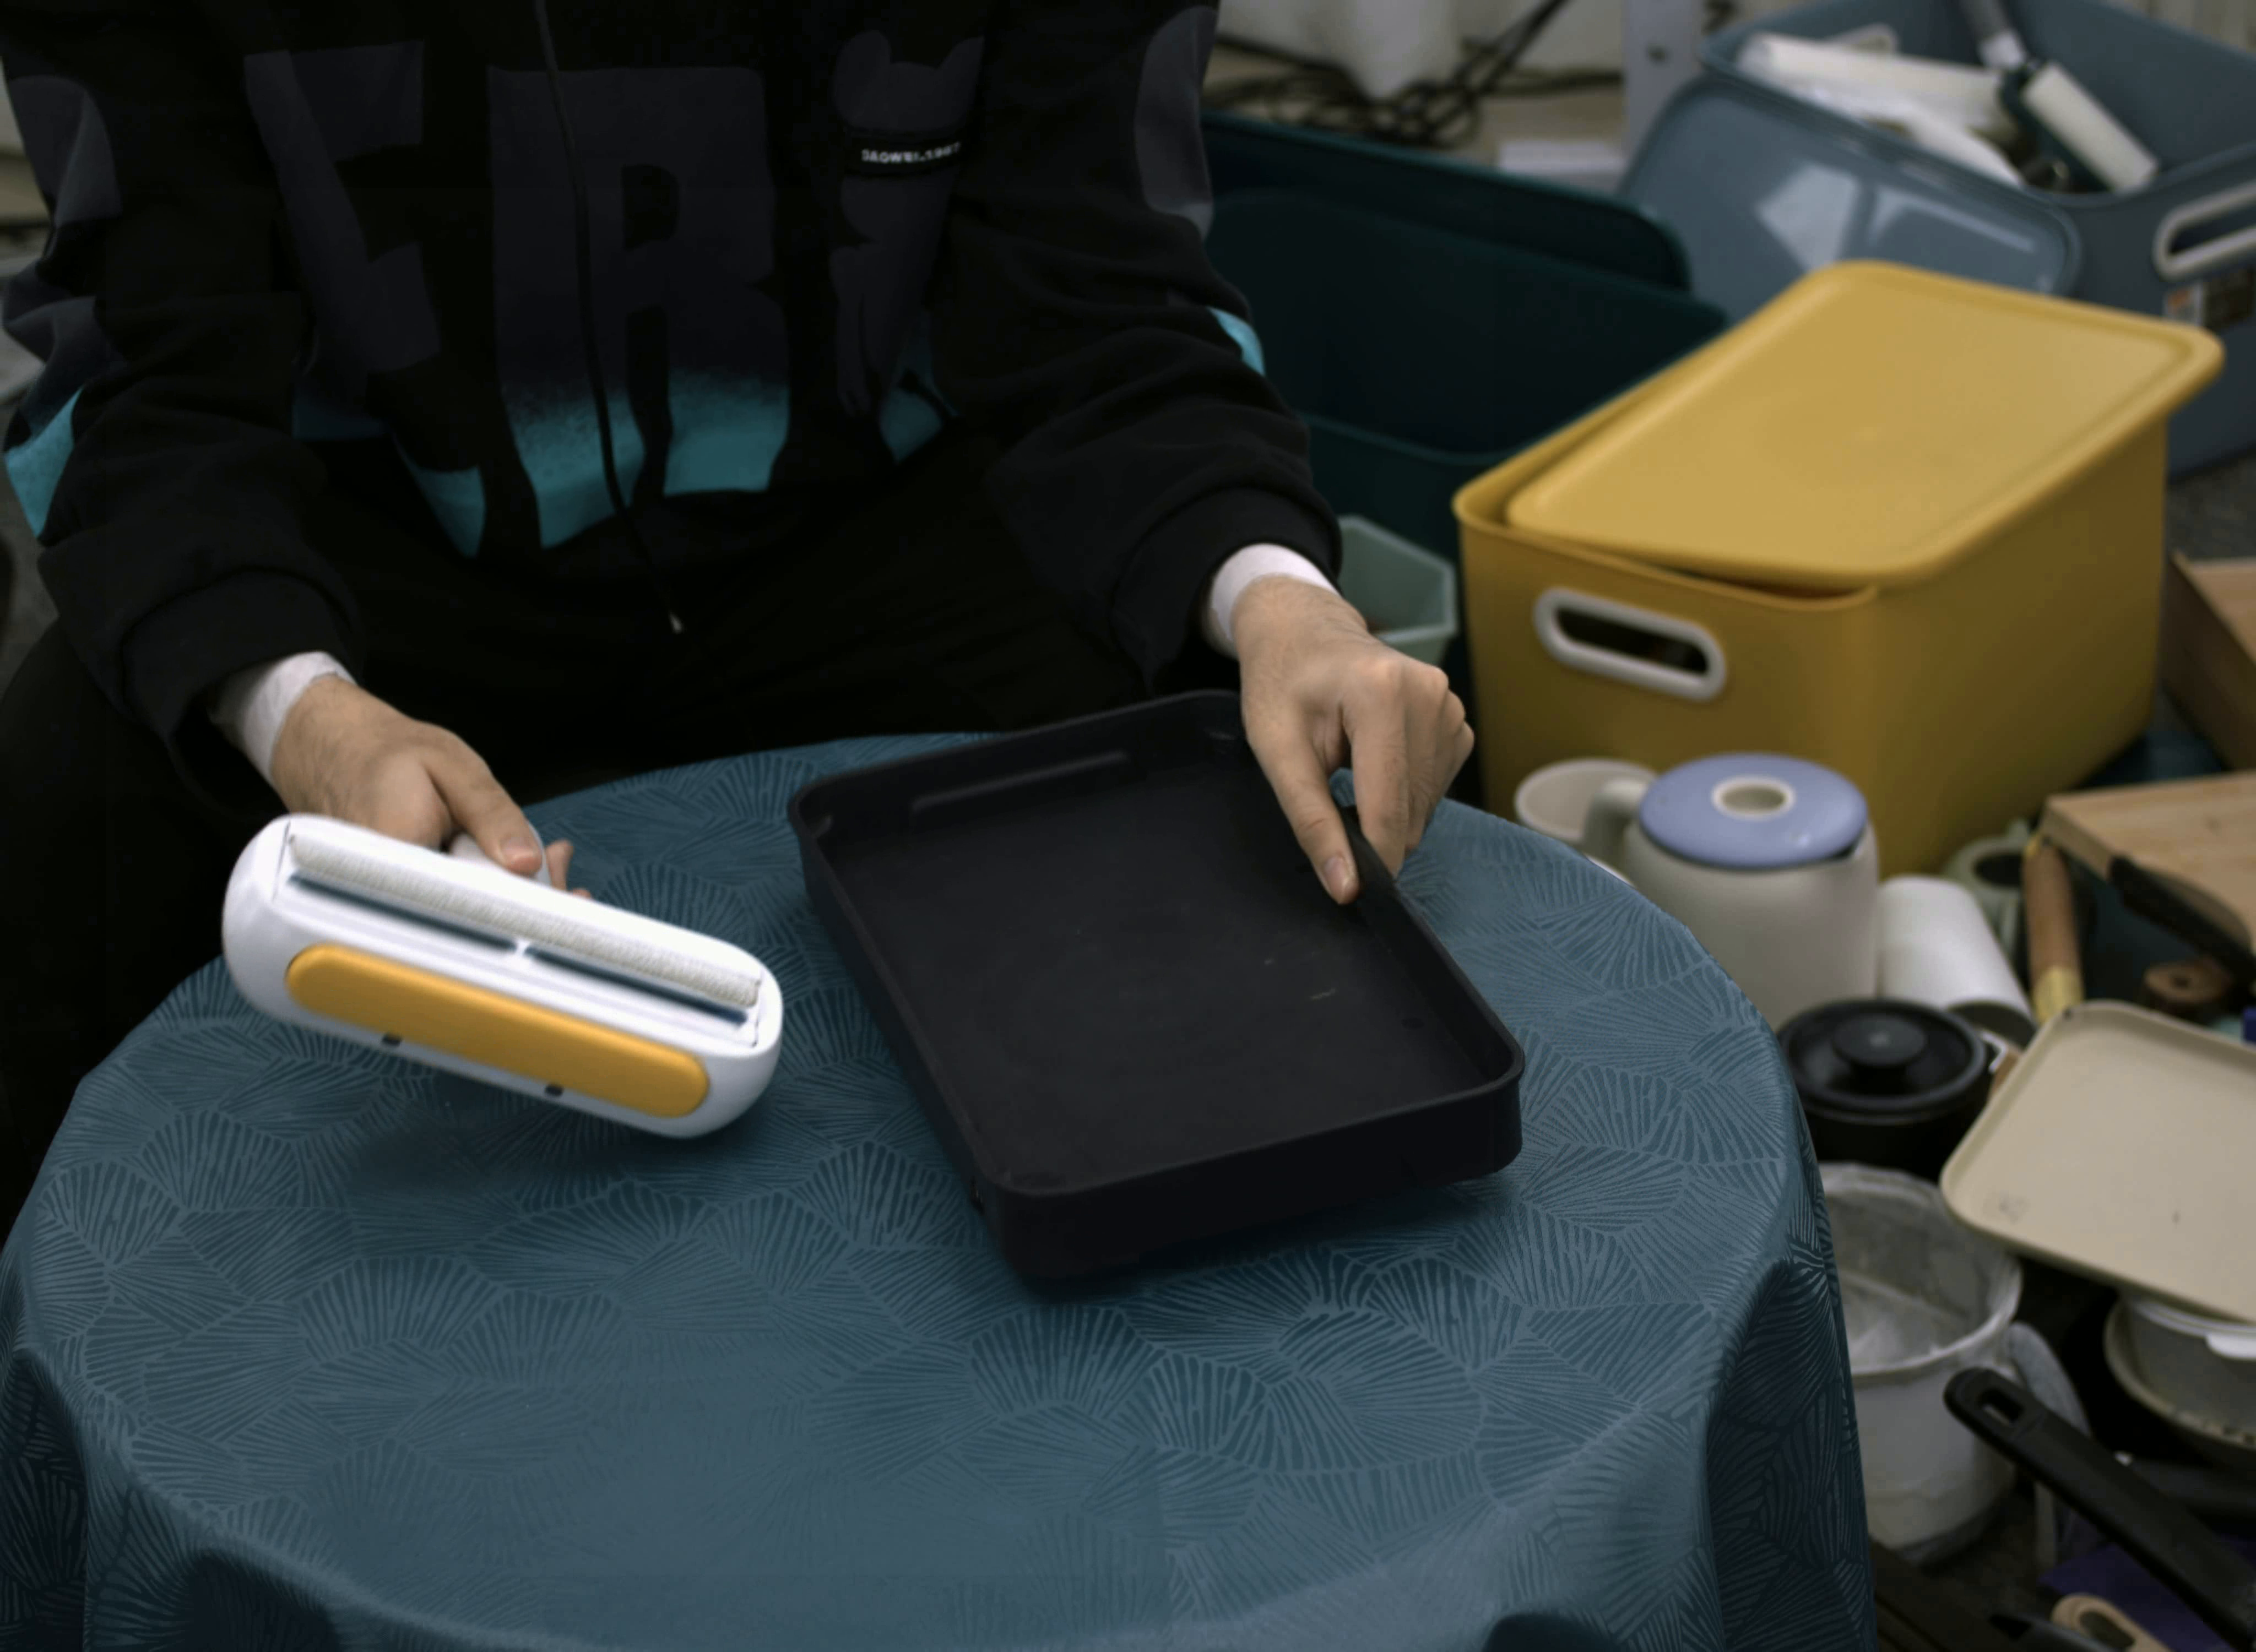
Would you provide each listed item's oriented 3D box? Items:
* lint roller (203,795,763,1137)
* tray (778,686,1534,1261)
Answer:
[{"bbox_3d":[-0.219,0.028,1.936,0.192,0.073,0.195,17,25,-10],"label":"lint roller"},{"bbox_3d":[0.004,0.044,1.940,0.184,0.036,0.321,-12,28,-14],"label":"tray"}]
